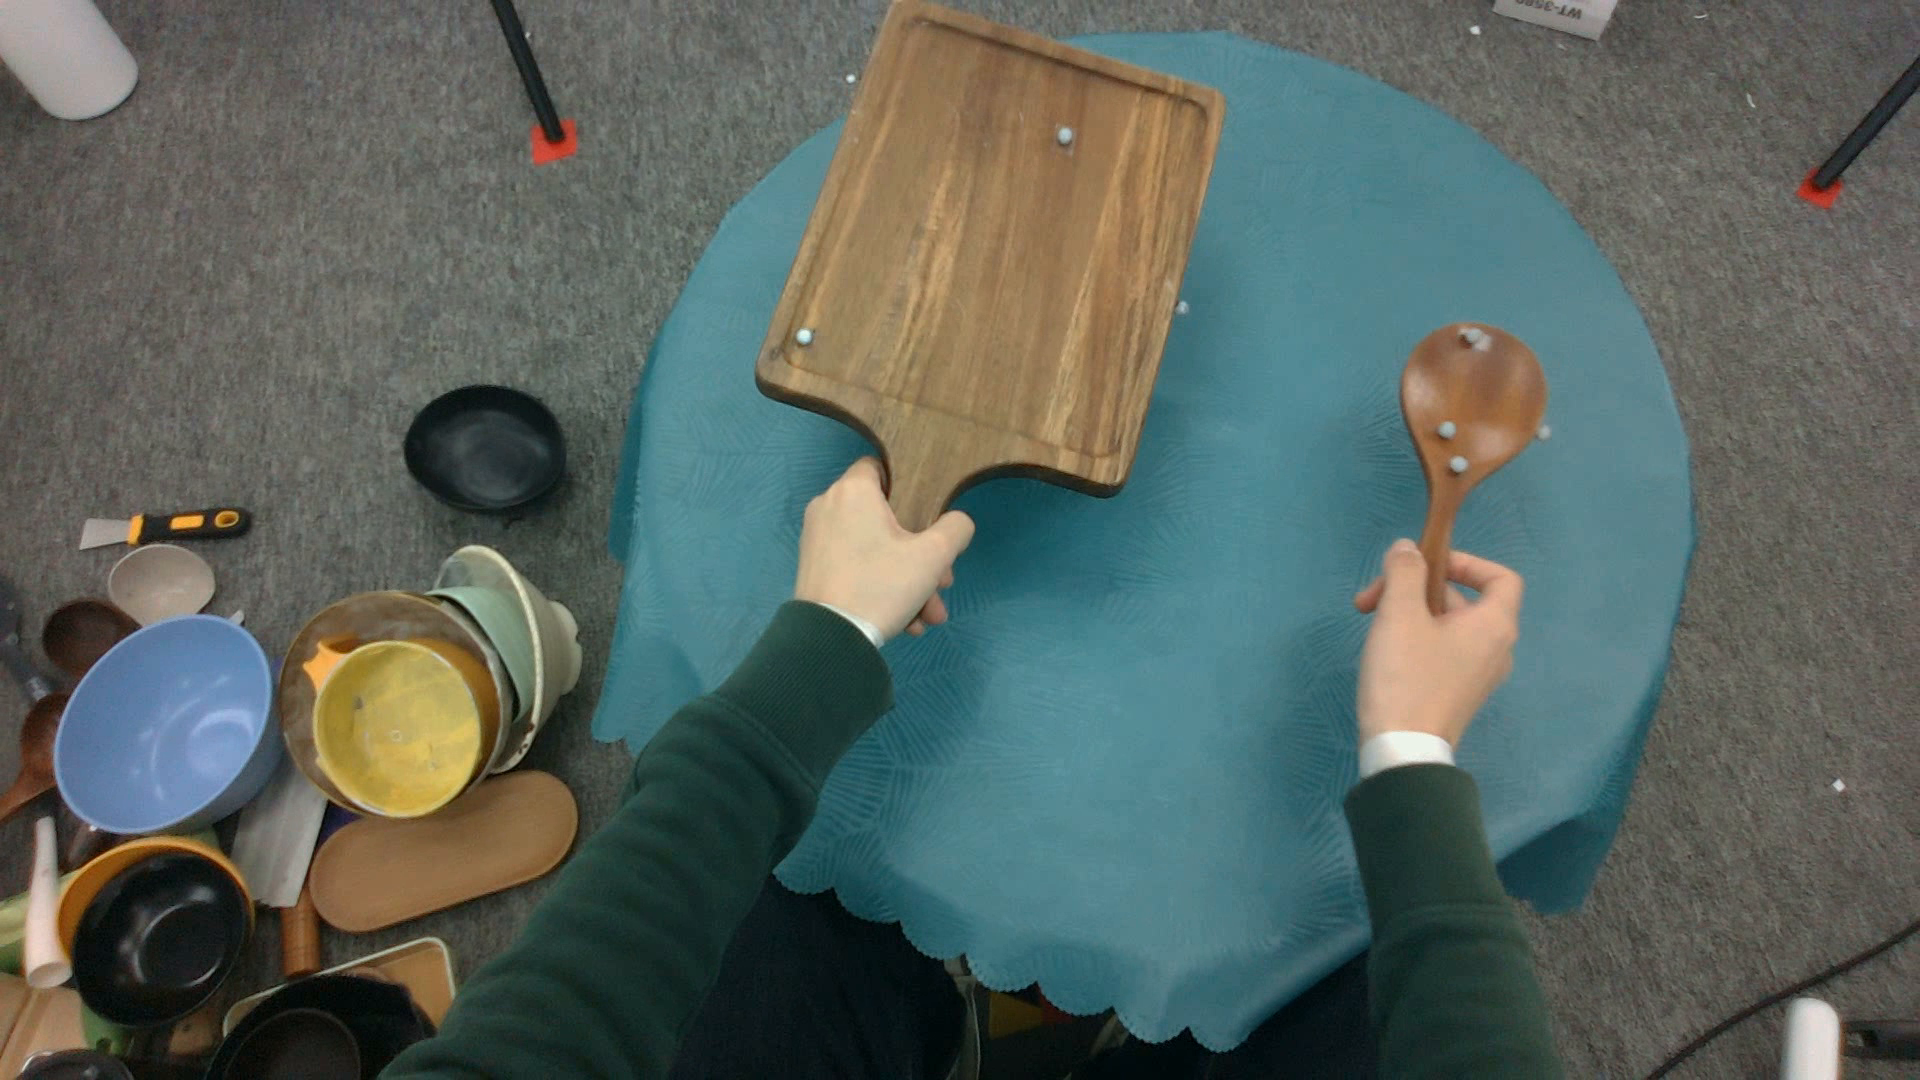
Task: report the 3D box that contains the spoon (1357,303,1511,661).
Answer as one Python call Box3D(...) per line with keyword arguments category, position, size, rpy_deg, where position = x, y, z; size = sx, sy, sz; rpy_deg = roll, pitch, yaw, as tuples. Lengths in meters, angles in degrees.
Box3D(category="spoon", position=(0.231, -0.034, 0.693), size=(0.075, 0.017, 0.217), rpy_deg=(20, 61, 4))

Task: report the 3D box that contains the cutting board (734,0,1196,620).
Box3D(category="cutting board", position=(-0.003, -0.124, 0.718), size=(0.201, 0.023, 0.353), rpy_deg=(17, 69, -2))
